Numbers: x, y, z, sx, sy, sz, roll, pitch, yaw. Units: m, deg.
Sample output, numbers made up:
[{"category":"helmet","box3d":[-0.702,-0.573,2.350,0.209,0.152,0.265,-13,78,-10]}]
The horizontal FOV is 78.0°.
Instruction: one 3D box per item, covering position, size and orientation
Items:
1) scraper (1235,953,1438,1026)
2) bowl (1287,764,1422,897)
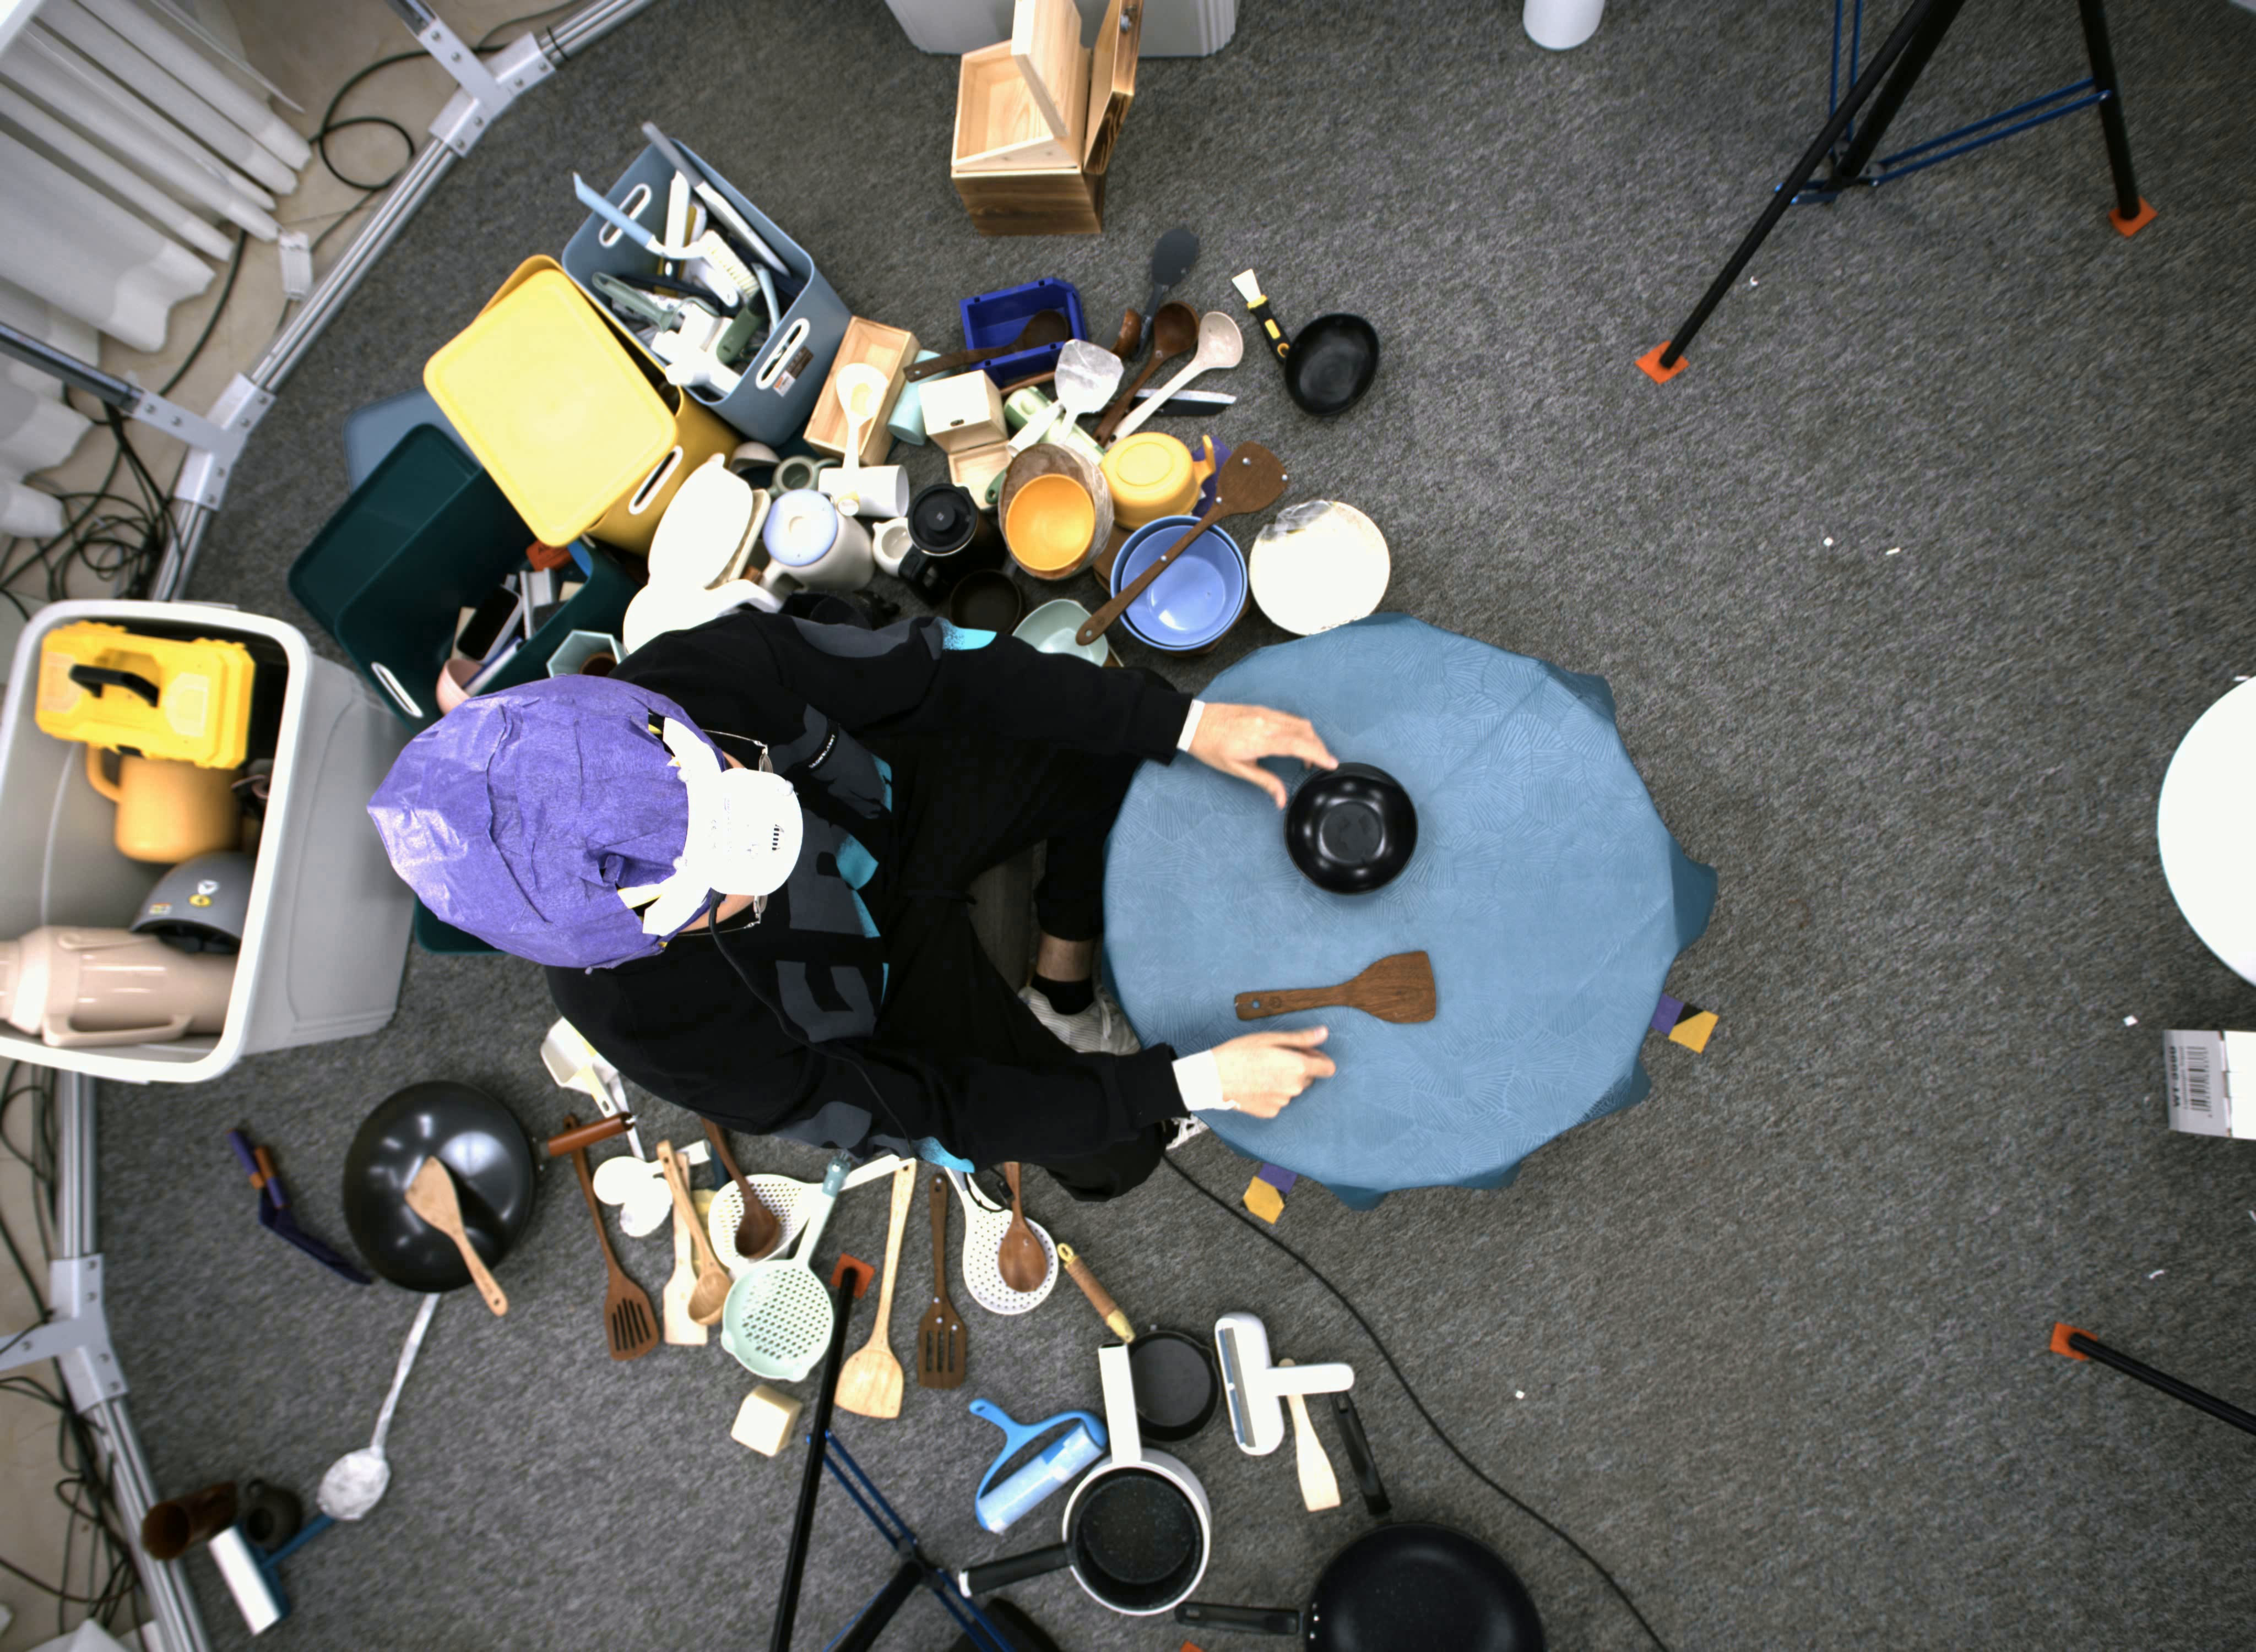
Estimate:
[{"category":"scraper","box3d":[0.219,0.181,1.463,0.212,0.011,0.075,-8,83,10]},{"category":"bowl","box3d":[0.236,0.005,1.449,0.140,0.050,0.139,0,88,7]}]
